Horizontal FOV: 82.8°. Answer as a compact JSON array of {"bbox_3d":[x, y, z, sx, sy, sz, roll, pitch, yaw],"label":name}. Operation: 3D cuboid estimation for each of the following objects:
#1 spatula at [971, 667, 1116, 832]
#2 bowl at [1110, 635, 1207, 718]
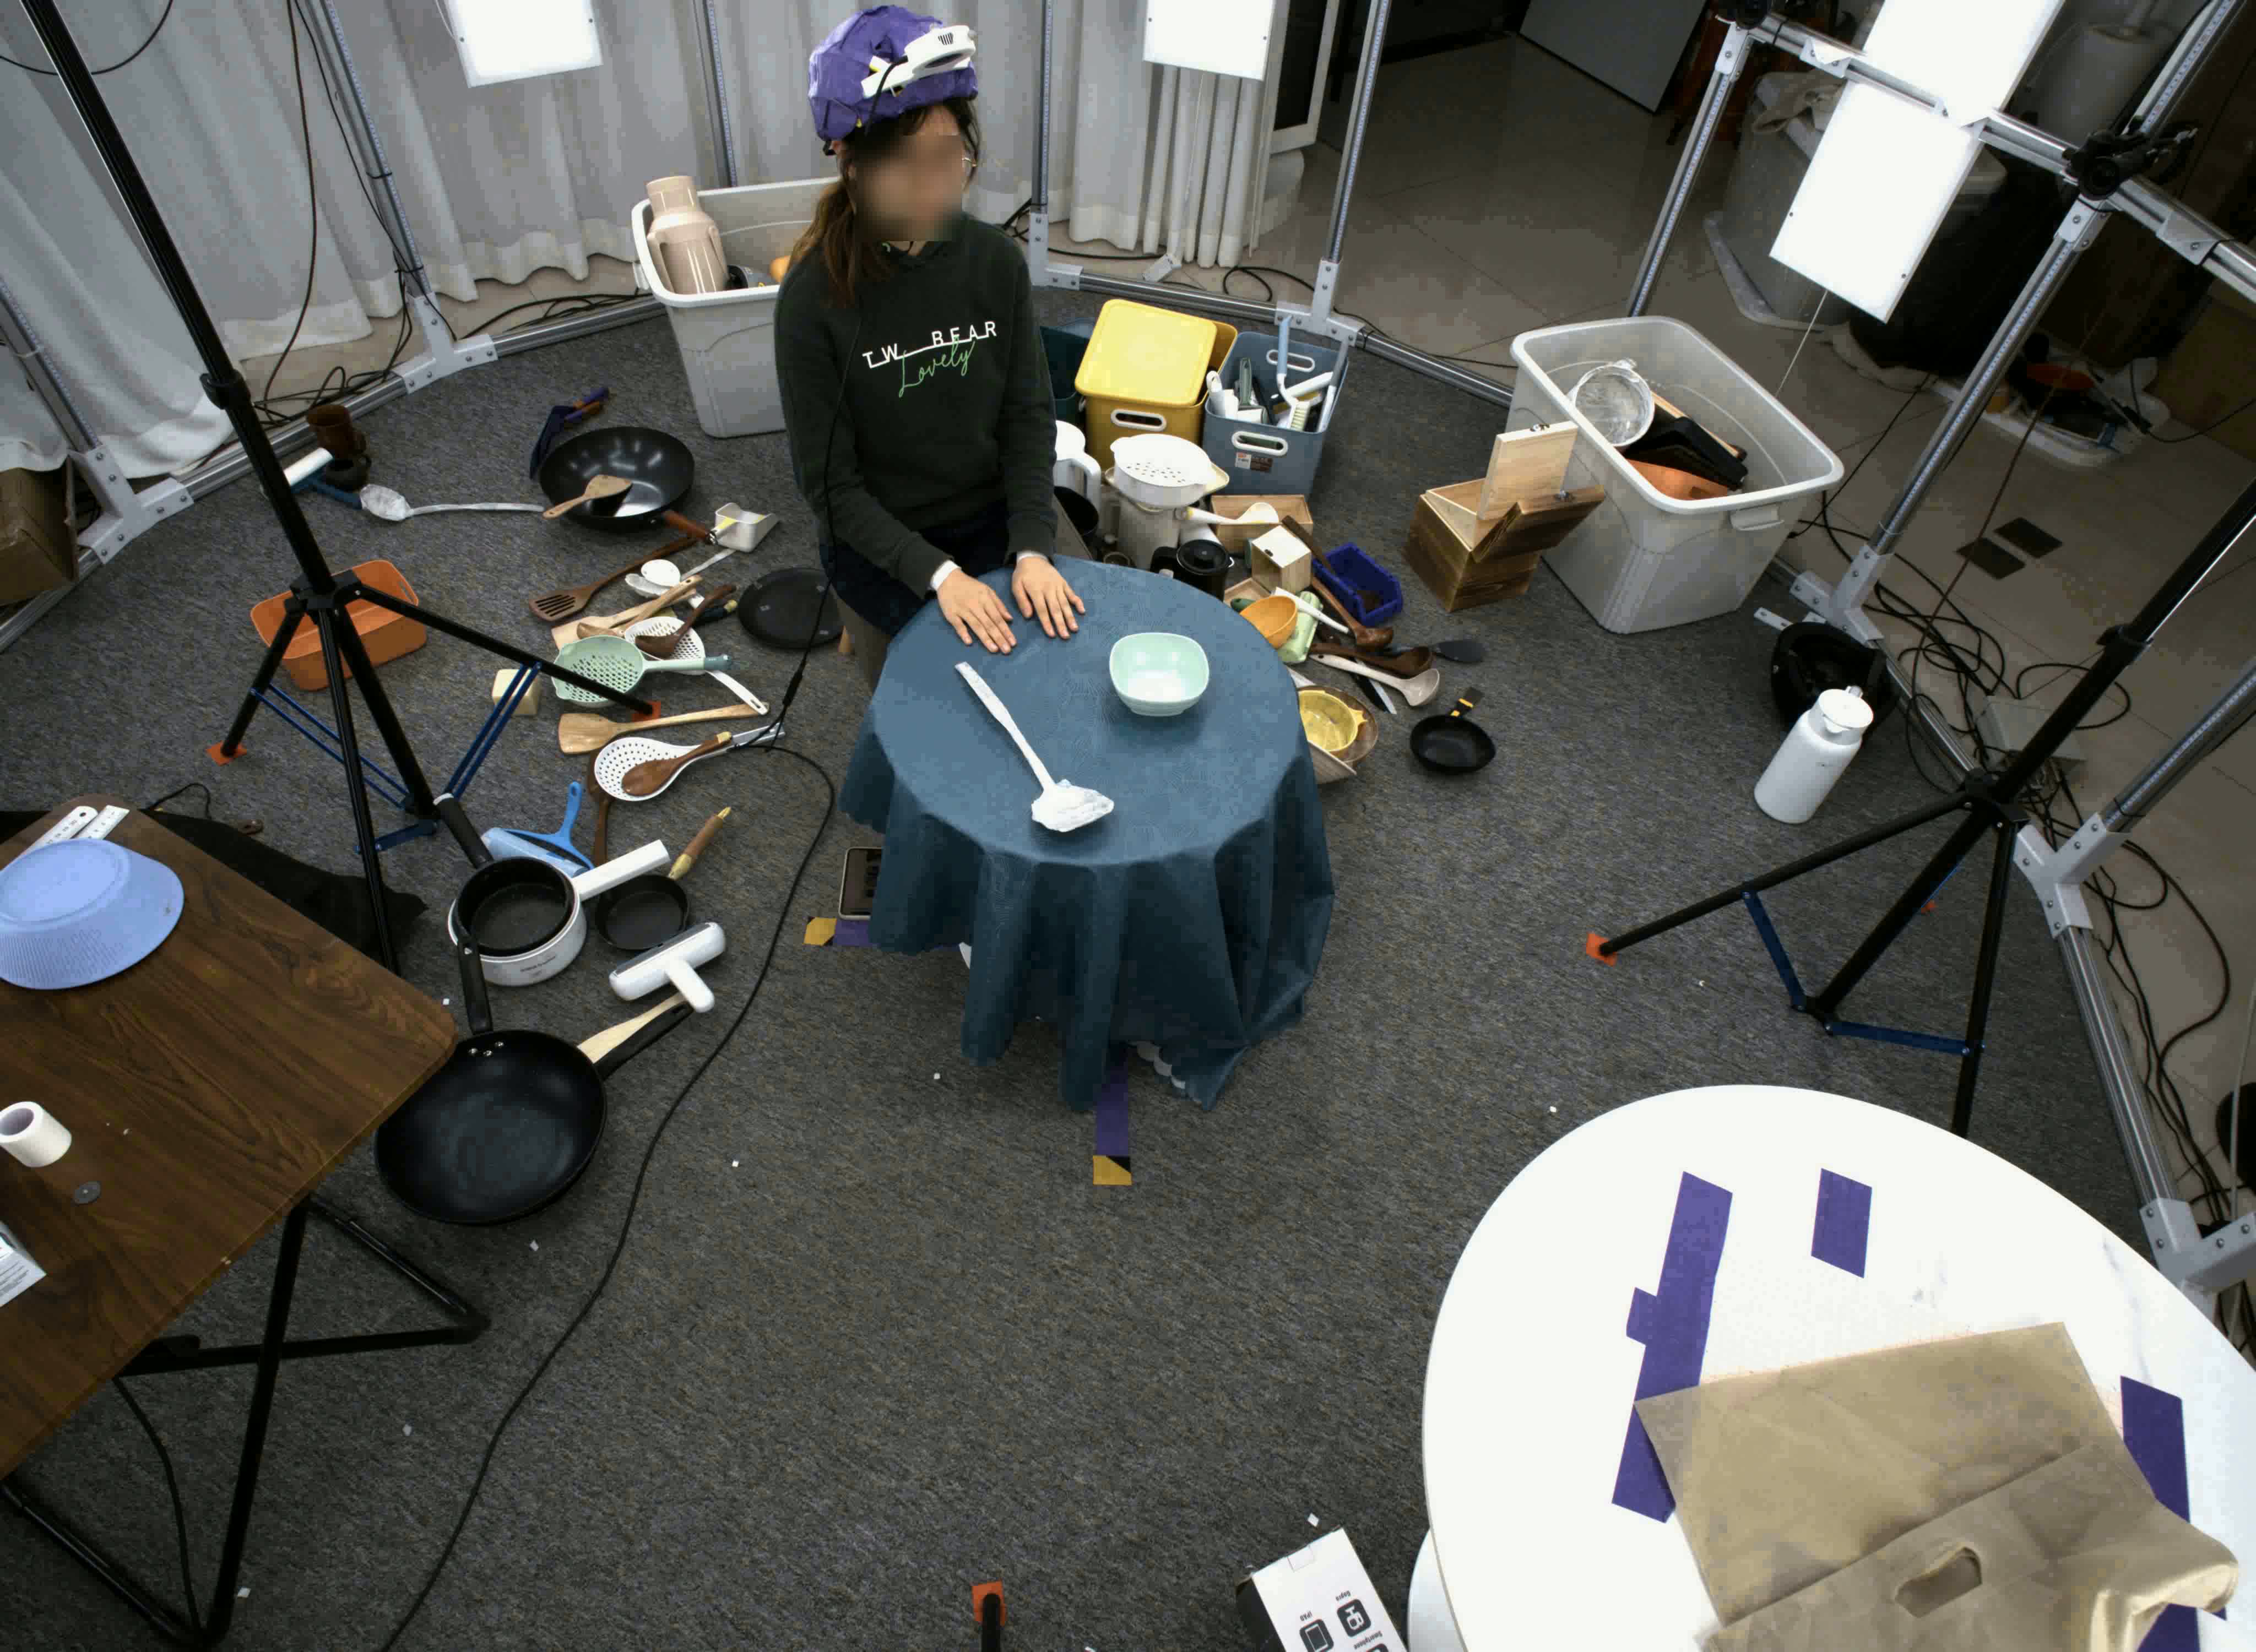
[{"bbox_3d":[-0.139,-0.115,1.750,0.099,0.043,0.373,-22,54,-19],"label":"spatula"},{"bbox_3d":[0.041,-0.205,1.830,0.151,0.057,0.155,3,50,-4],"label":"bowl"}]
